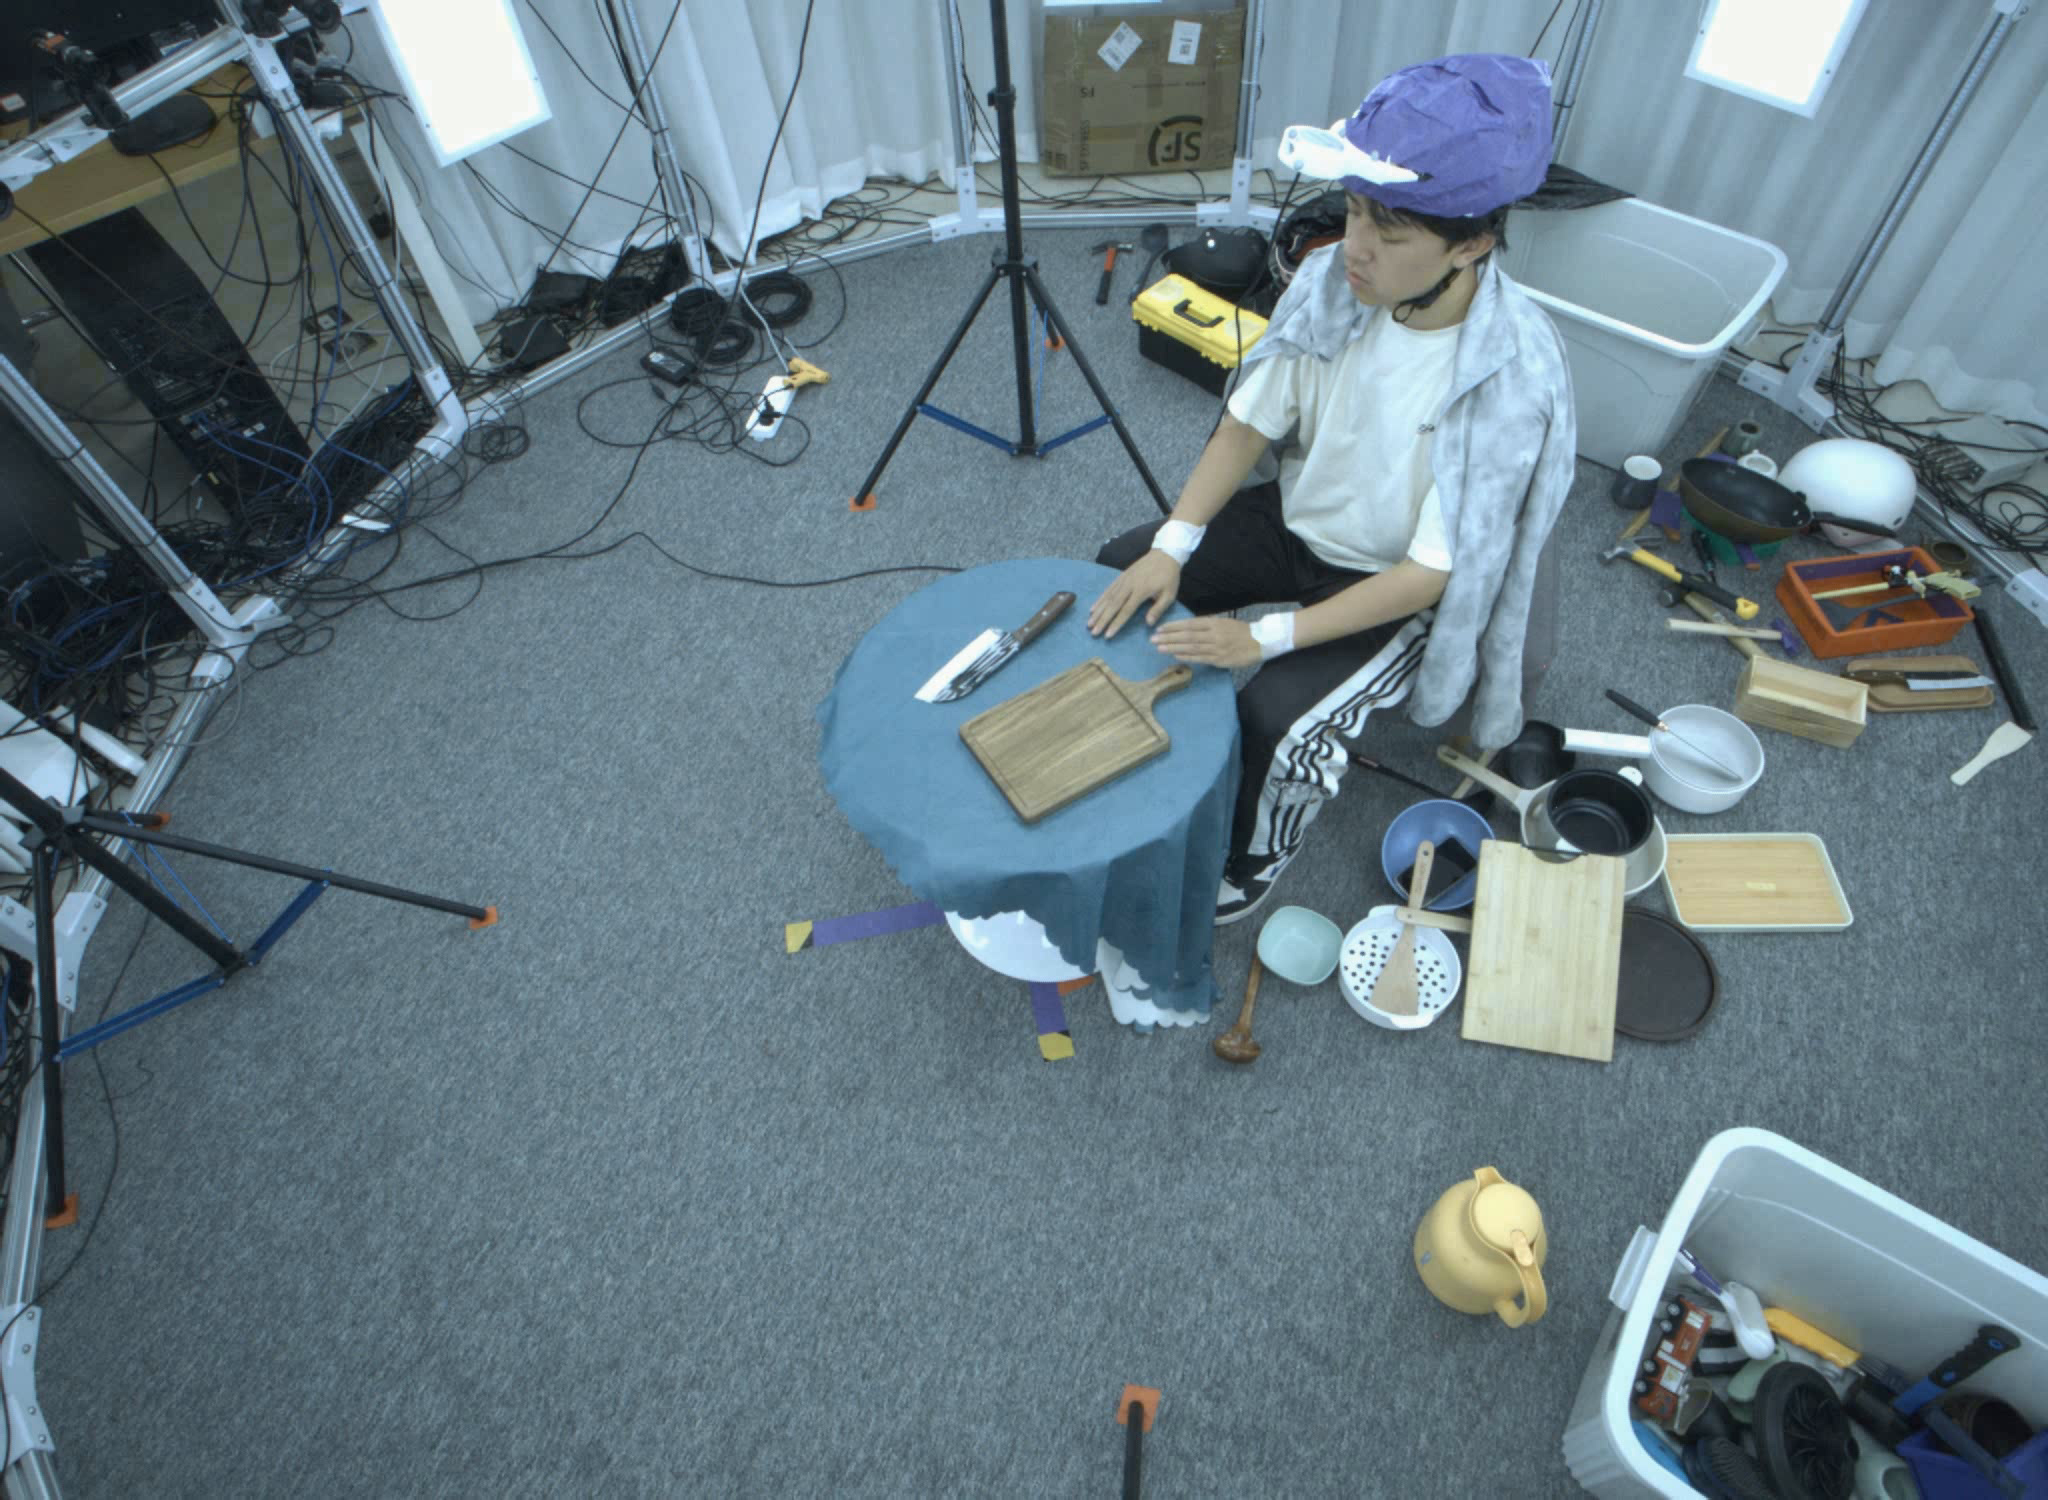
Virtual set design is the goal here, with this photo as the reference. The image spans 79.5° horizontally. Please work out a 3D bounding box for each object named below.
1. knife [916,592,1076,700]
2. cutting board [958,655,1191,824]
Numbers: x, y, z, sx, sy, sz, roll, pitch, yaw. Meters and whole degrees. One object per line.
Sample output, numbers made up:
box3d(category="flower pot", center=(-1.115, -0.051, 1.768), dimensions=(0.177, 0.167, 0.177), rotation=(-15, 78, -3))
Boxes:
box3d(category="knife", center=(-0.042, -0.163, 1.894), dimensions=(0.301, 0.024, 0.067), rotation=(-41, 61, -20))
box3d(category="cutting board", center=(0.100, -0.043, 1.804), dimensions=(0.355, 0.023, 0.197), rotation=(-28, 59, -17))
